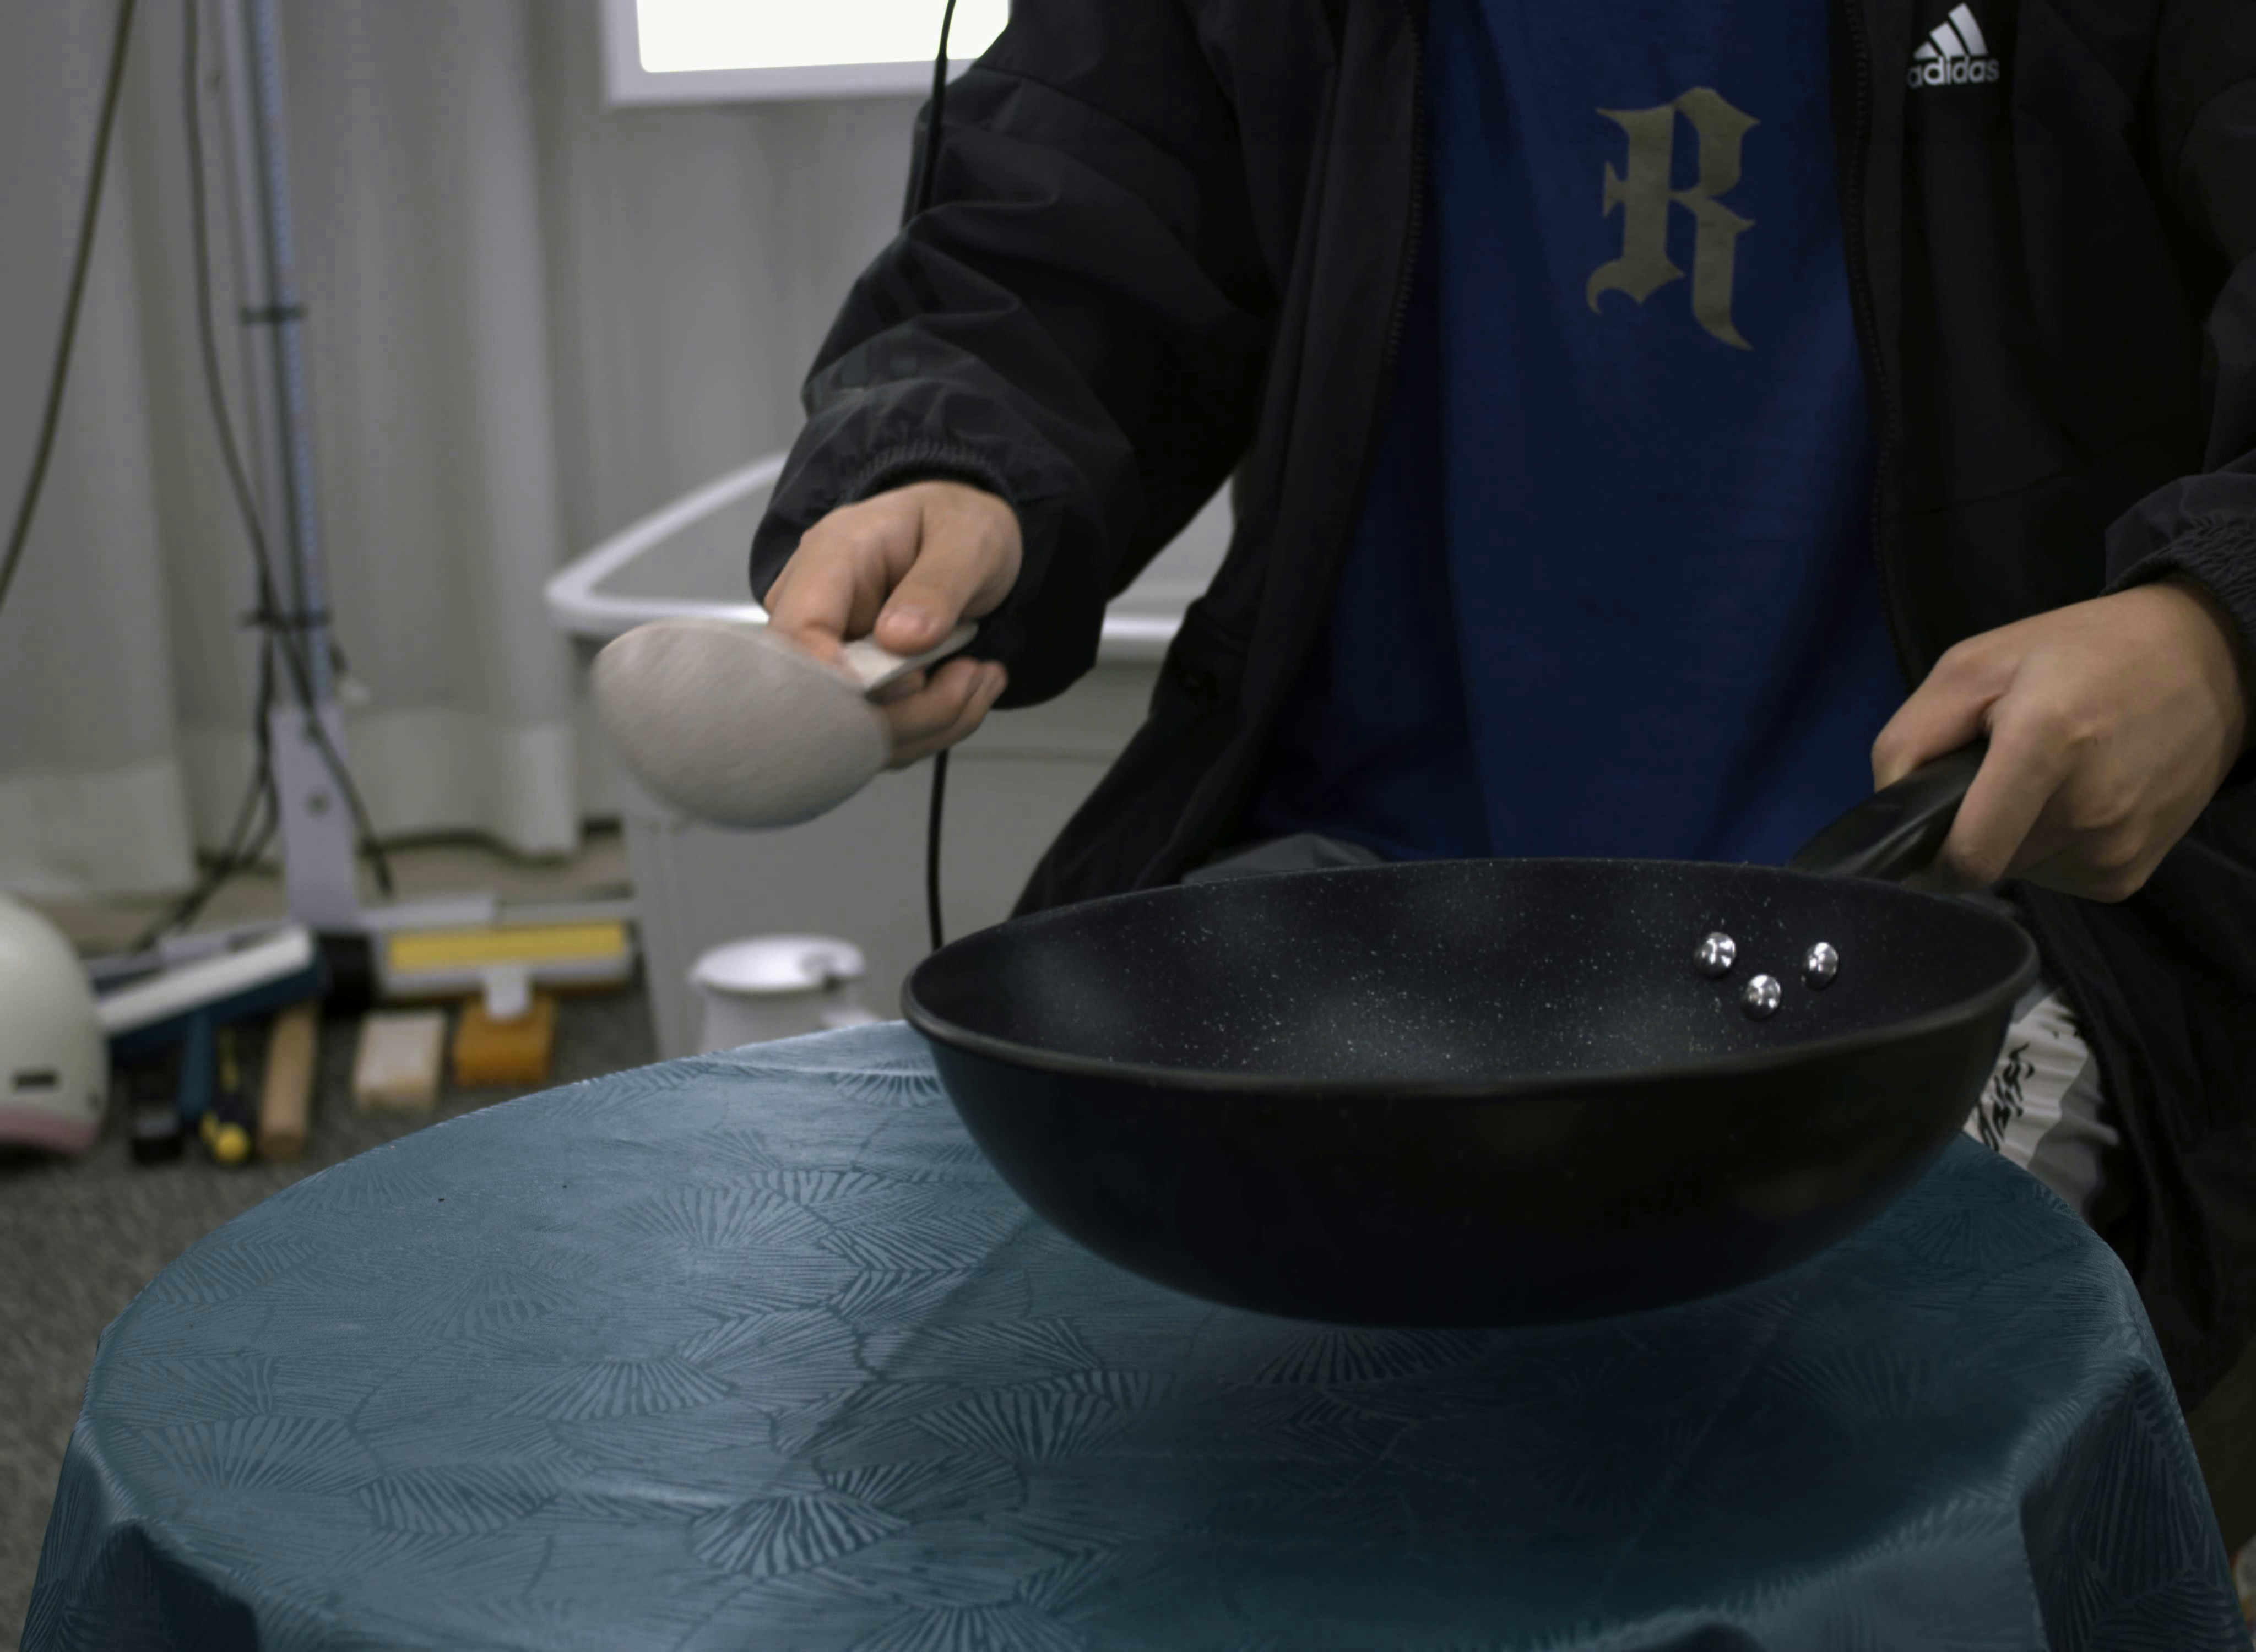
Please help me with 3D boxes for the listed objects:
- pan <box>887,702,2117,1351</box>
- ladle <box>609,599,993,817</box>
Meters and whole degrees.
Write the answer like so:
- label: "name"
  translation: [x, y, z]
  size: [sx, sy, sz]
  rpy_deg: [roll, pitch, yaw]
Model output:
- label: "pan"
  translation: [0.145, 0.054, 1.542]
  size: [0.311, 0.111, 0.475]
  rpy_deg: [7, 14, 40]
- label: "ladle"
  translation: [-0.081, -0.062, 1.676]
  size: [0.089, 0.069, 0.276]
  rpy_deg: [8, 16, 12]
